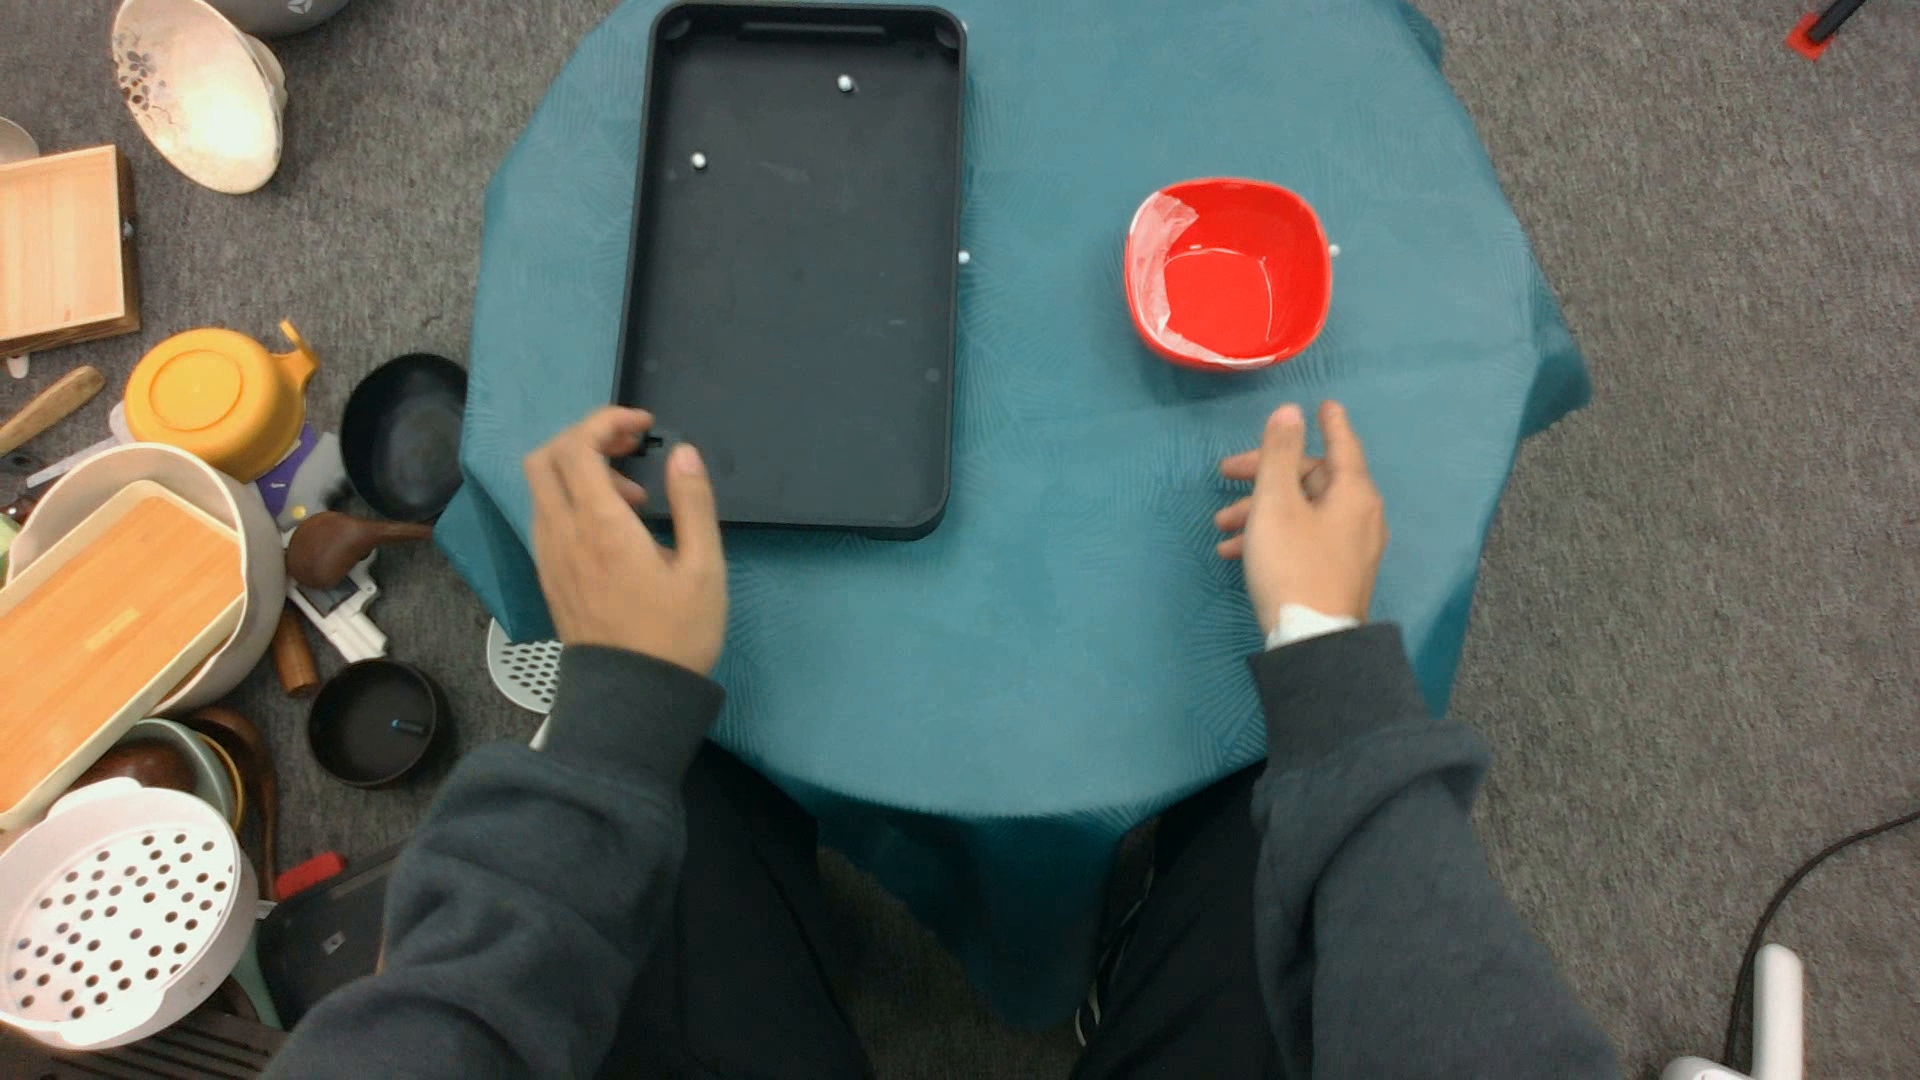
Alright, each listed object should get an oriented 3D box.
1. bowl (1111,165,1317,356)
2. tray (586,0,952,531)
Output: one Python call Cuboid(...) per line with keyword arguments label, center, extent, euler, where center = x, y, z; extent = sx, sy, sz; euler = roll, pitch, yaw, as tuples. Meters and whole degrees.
Cuboid(label="bowl", center=(0.135, -0.145, 0.758), extent=(0.119, 0.051, 0.119), euler=(0, 72, -1))
Cuboid(label="tray", center=(-0.099, -0.160, 0.770), extent=(0.184, 0.037, 0.319), euler=(1, 72, 0))
